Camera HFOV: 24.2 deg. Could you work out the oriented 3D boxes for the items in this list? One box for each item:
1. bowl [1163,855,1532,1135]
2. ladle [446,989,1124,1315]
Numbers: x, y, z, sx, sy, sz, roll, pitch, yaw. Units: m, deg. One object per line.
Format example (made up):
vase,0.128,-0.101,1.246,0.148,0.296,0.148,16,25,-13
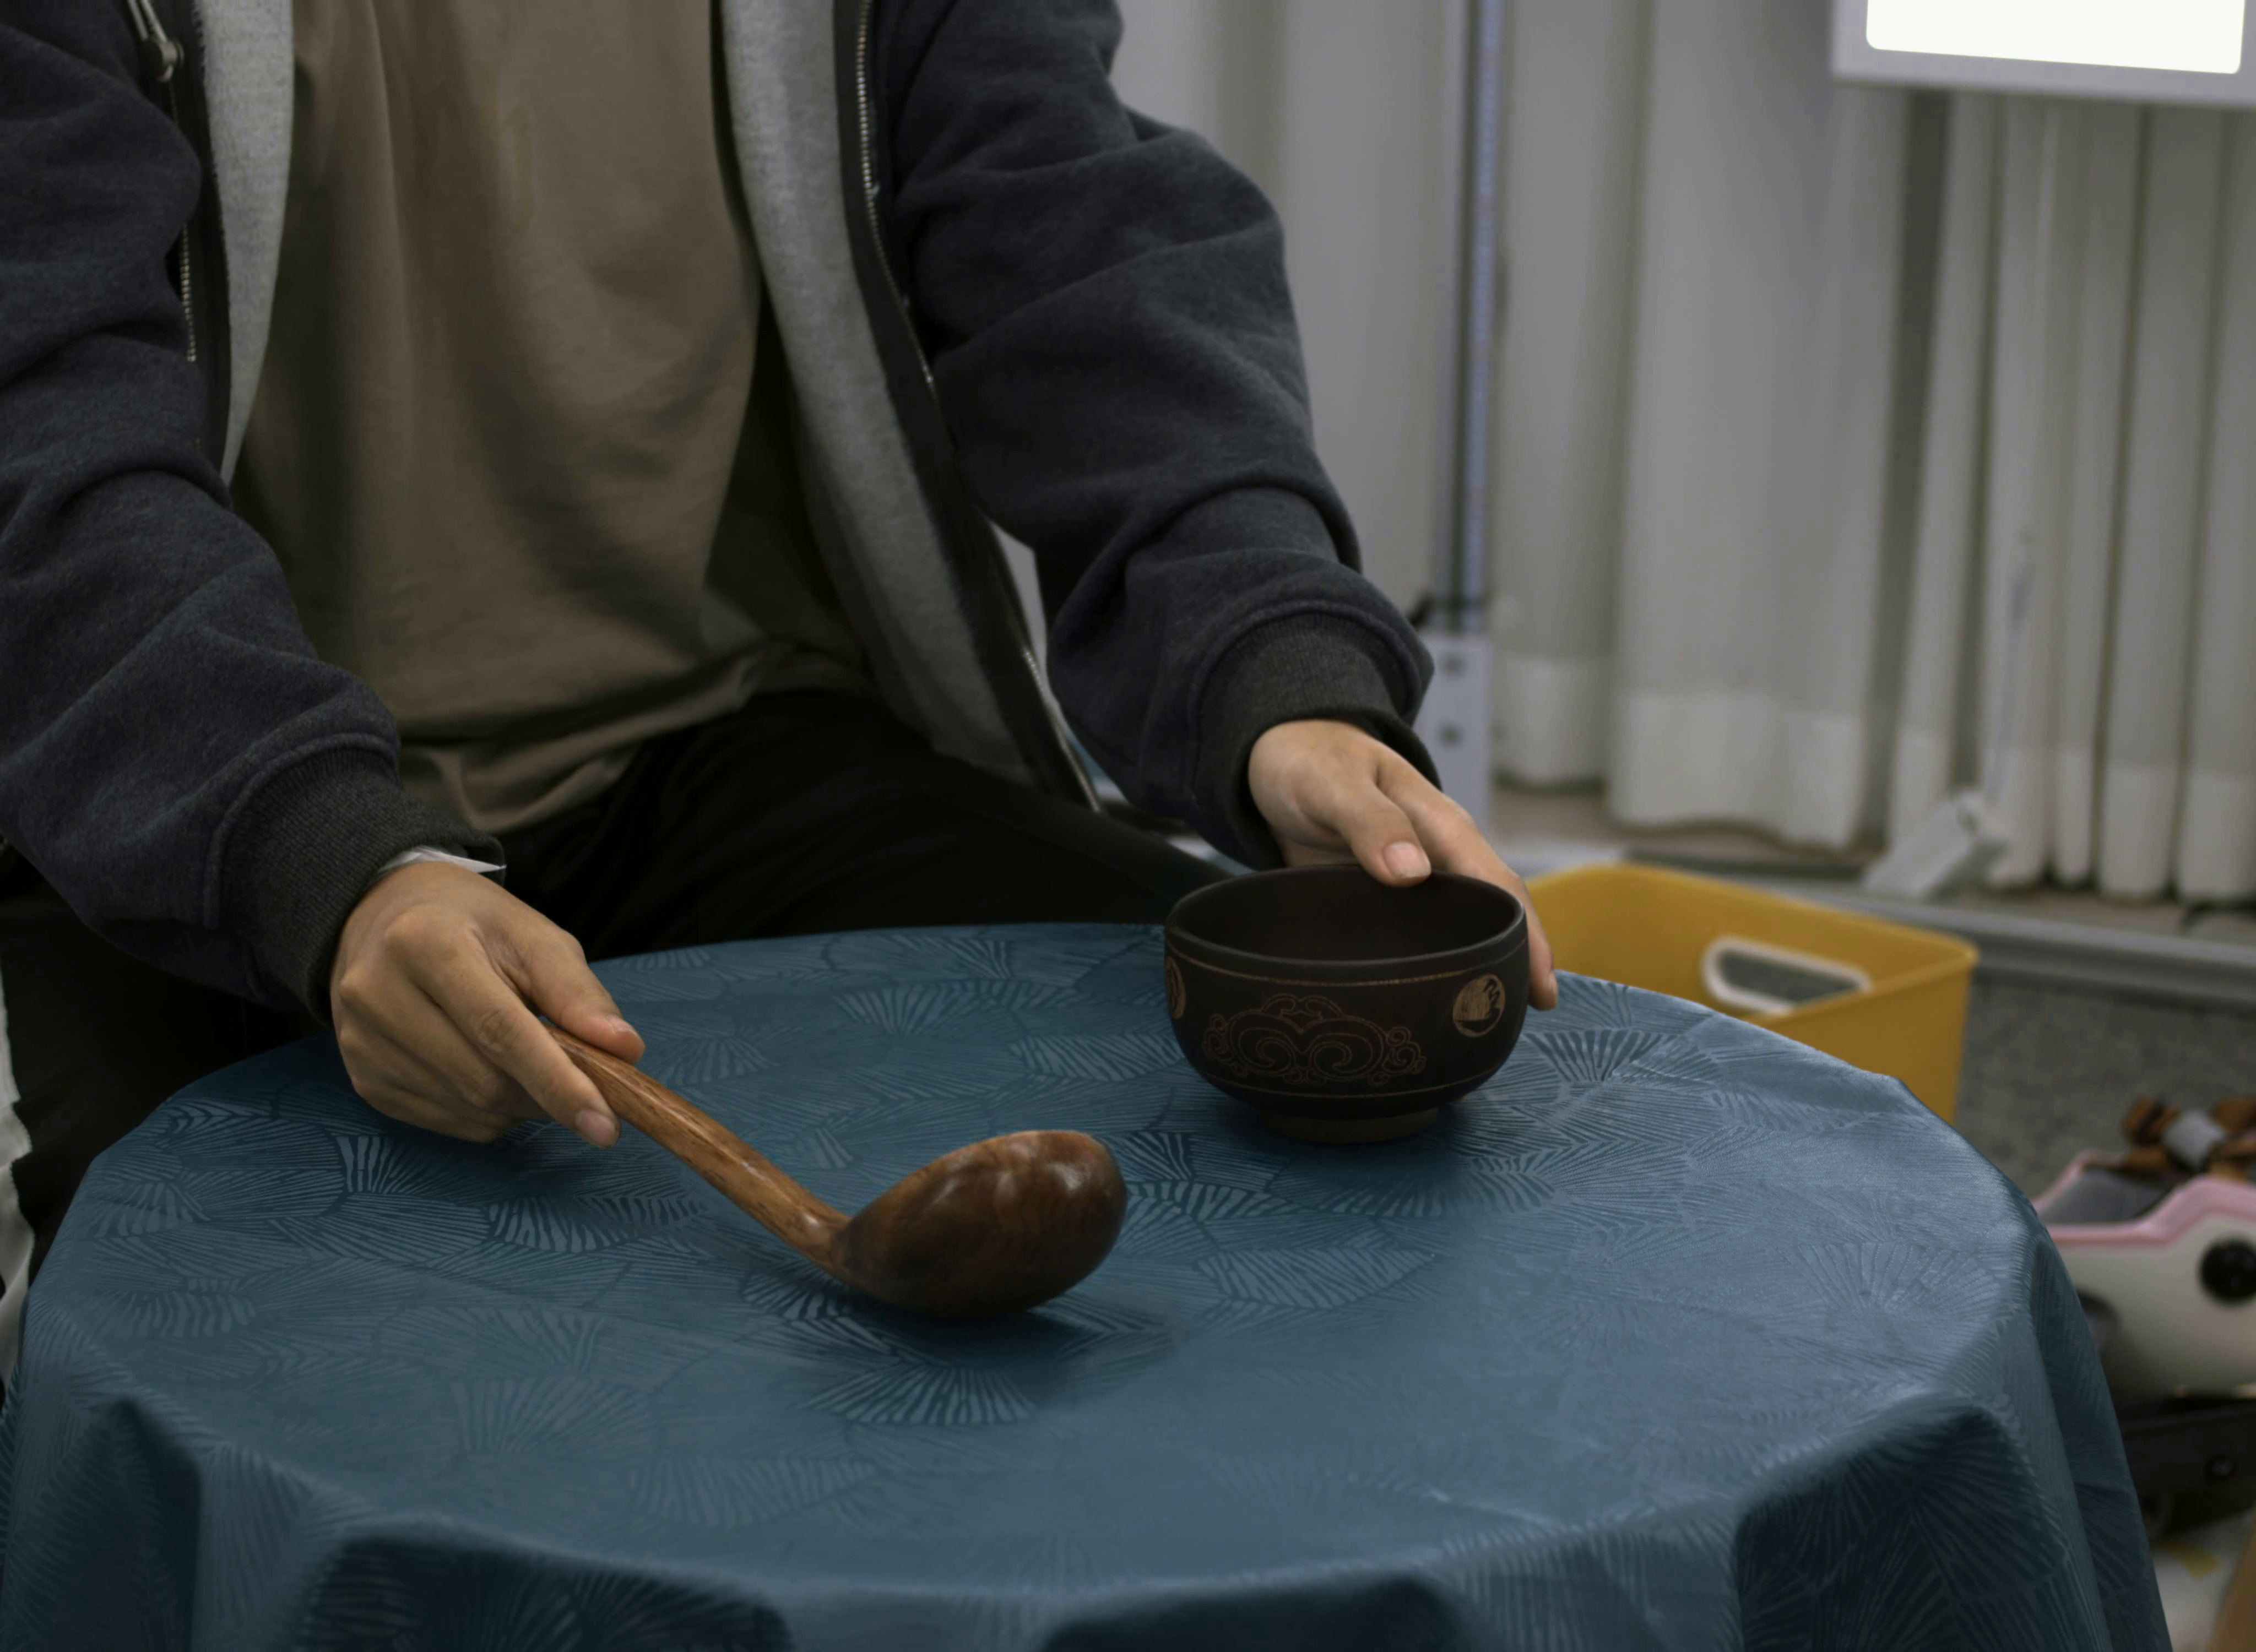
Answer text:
bowl,0.070,0.057,1.680,0.117,0.070,0.117,-1,15,1
ladle,-0.109,0.074,1.565,0.270,0.077,0.083,29,4,42
